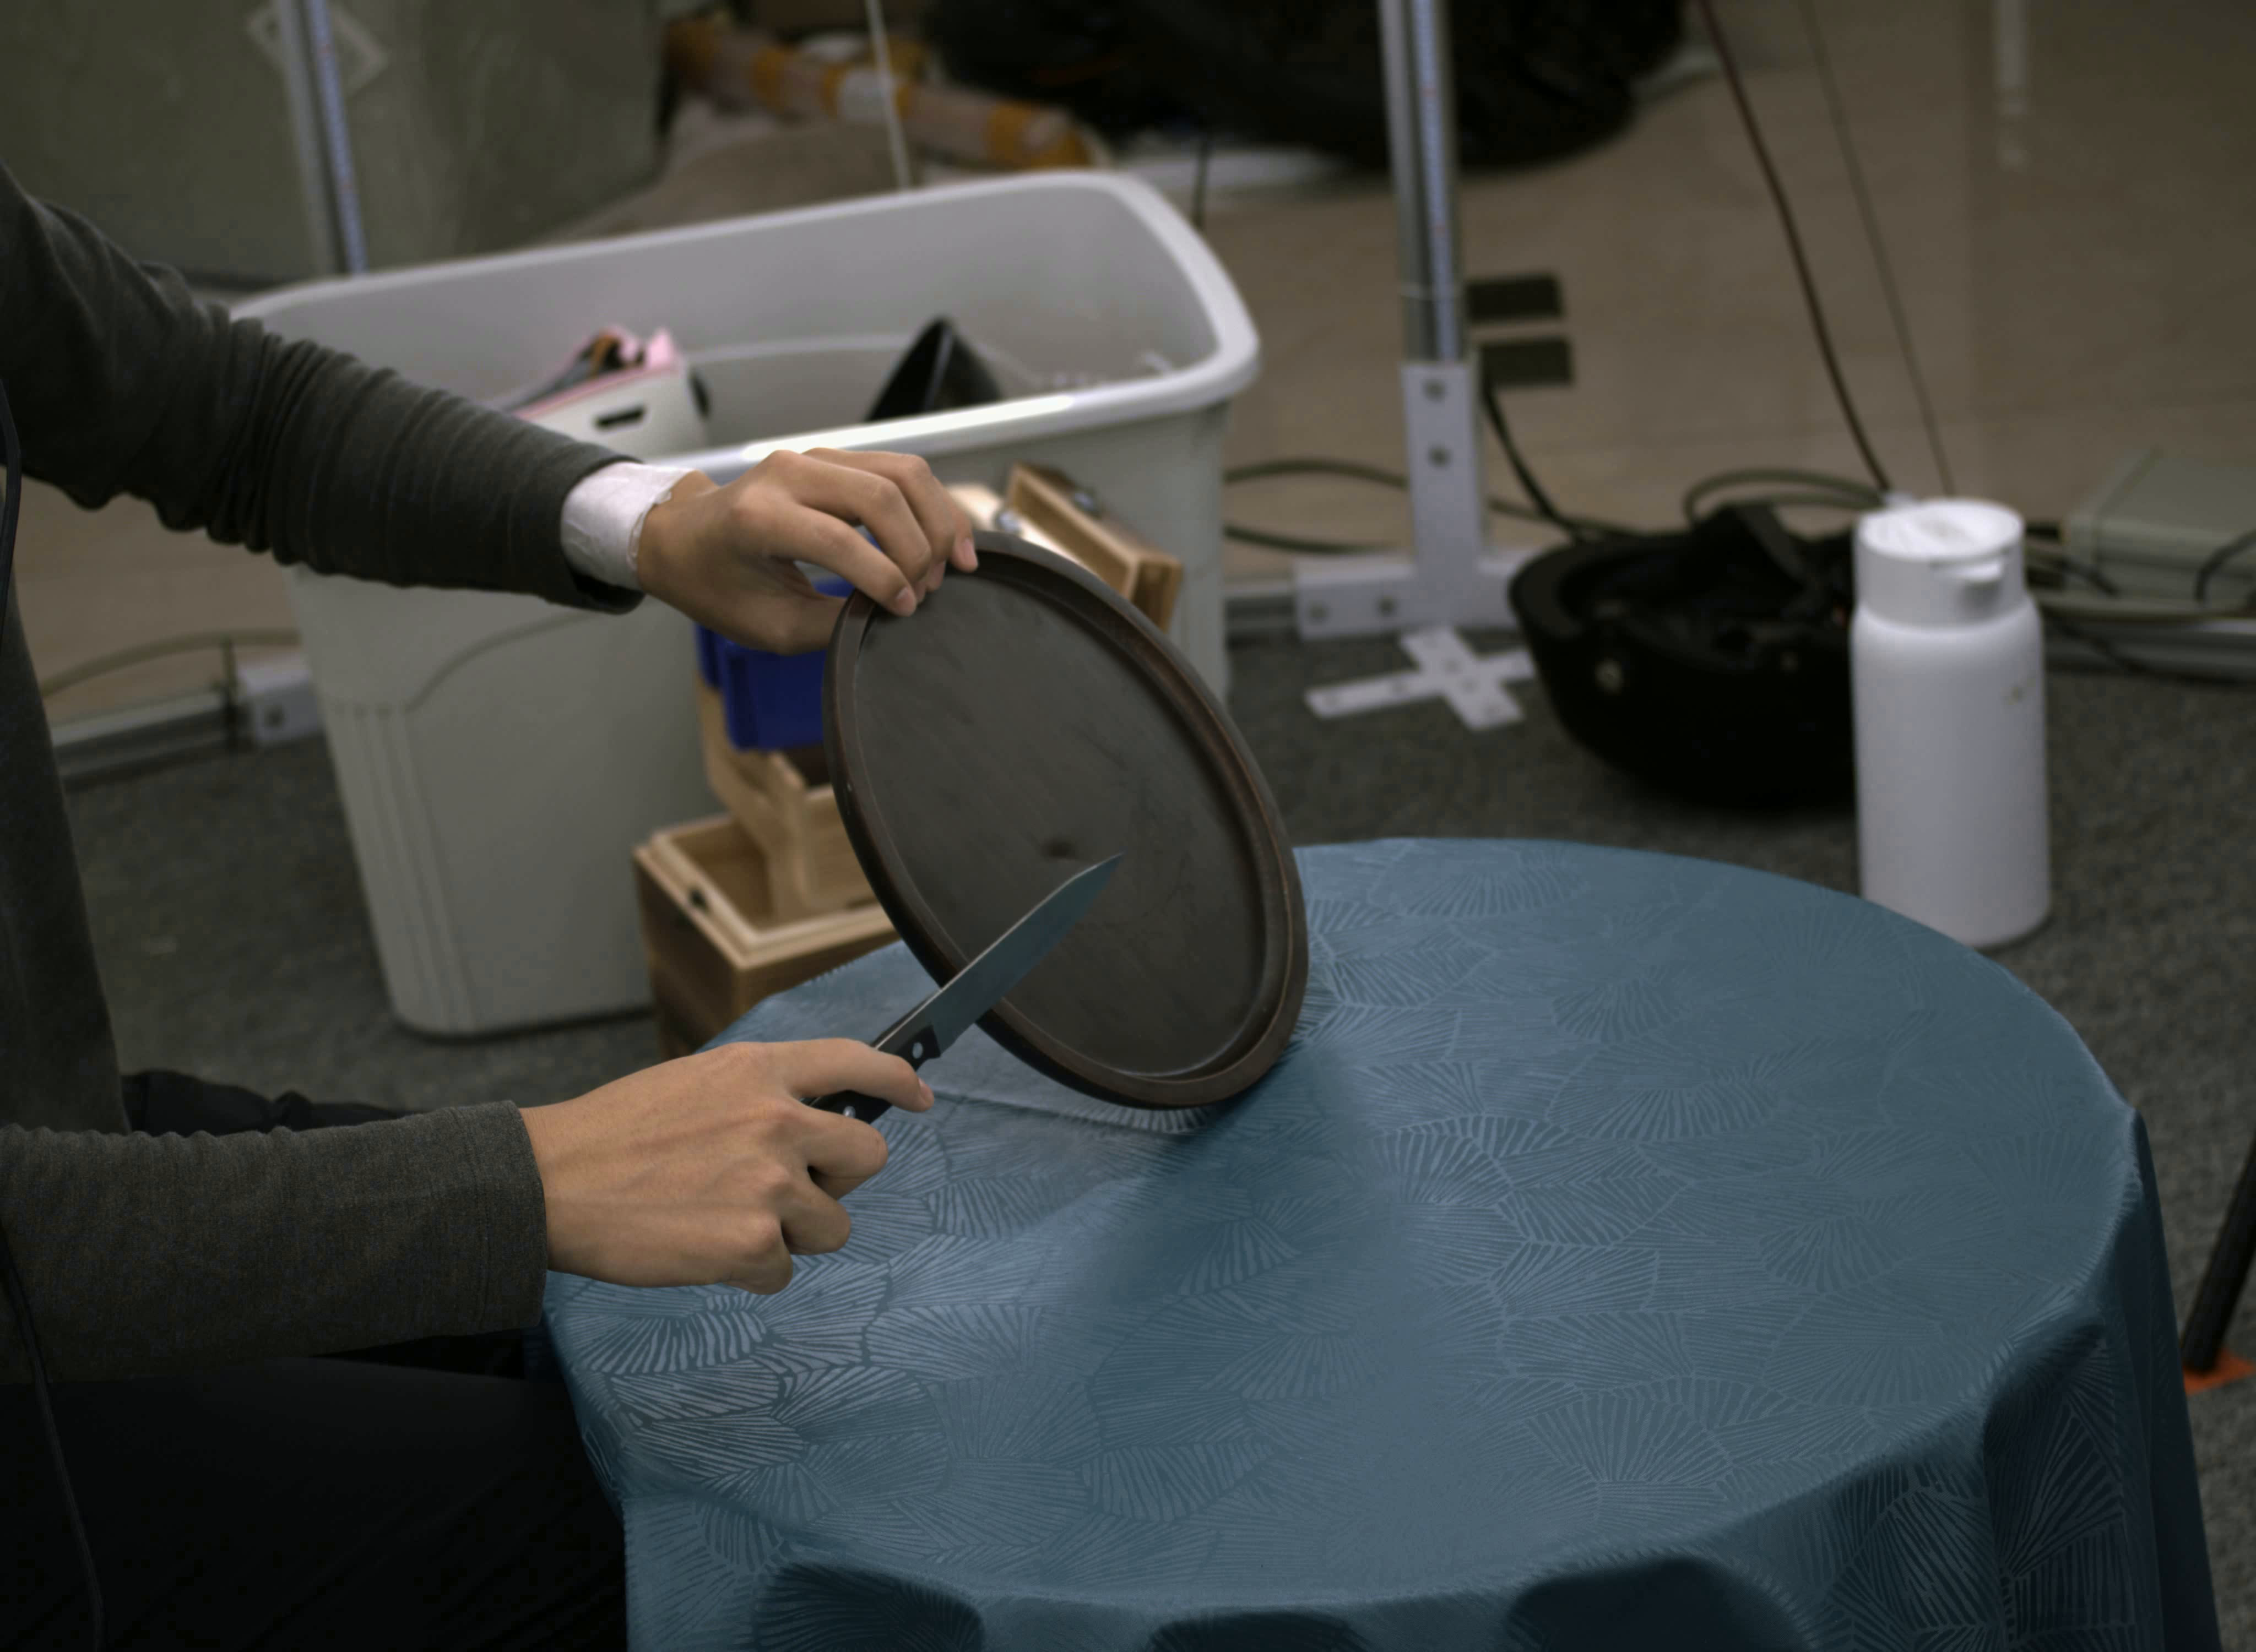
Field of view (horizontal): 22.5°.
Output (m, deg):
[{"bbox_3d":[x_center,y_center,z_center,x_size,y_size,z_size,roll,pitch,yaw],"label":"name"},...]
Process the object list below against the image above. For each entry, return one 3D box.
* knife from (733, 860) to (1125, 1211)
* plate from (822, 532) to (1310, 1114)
[{"bbox_3d":[-0.069,0.069,2.066,0.016,0.025,0.235,6,34,38],"label":"knife"},{"bbox_3d":[-0.025,-0.001,2.214,0.029,0.256,0.251,-31,10,34],"label":"plate"}]
